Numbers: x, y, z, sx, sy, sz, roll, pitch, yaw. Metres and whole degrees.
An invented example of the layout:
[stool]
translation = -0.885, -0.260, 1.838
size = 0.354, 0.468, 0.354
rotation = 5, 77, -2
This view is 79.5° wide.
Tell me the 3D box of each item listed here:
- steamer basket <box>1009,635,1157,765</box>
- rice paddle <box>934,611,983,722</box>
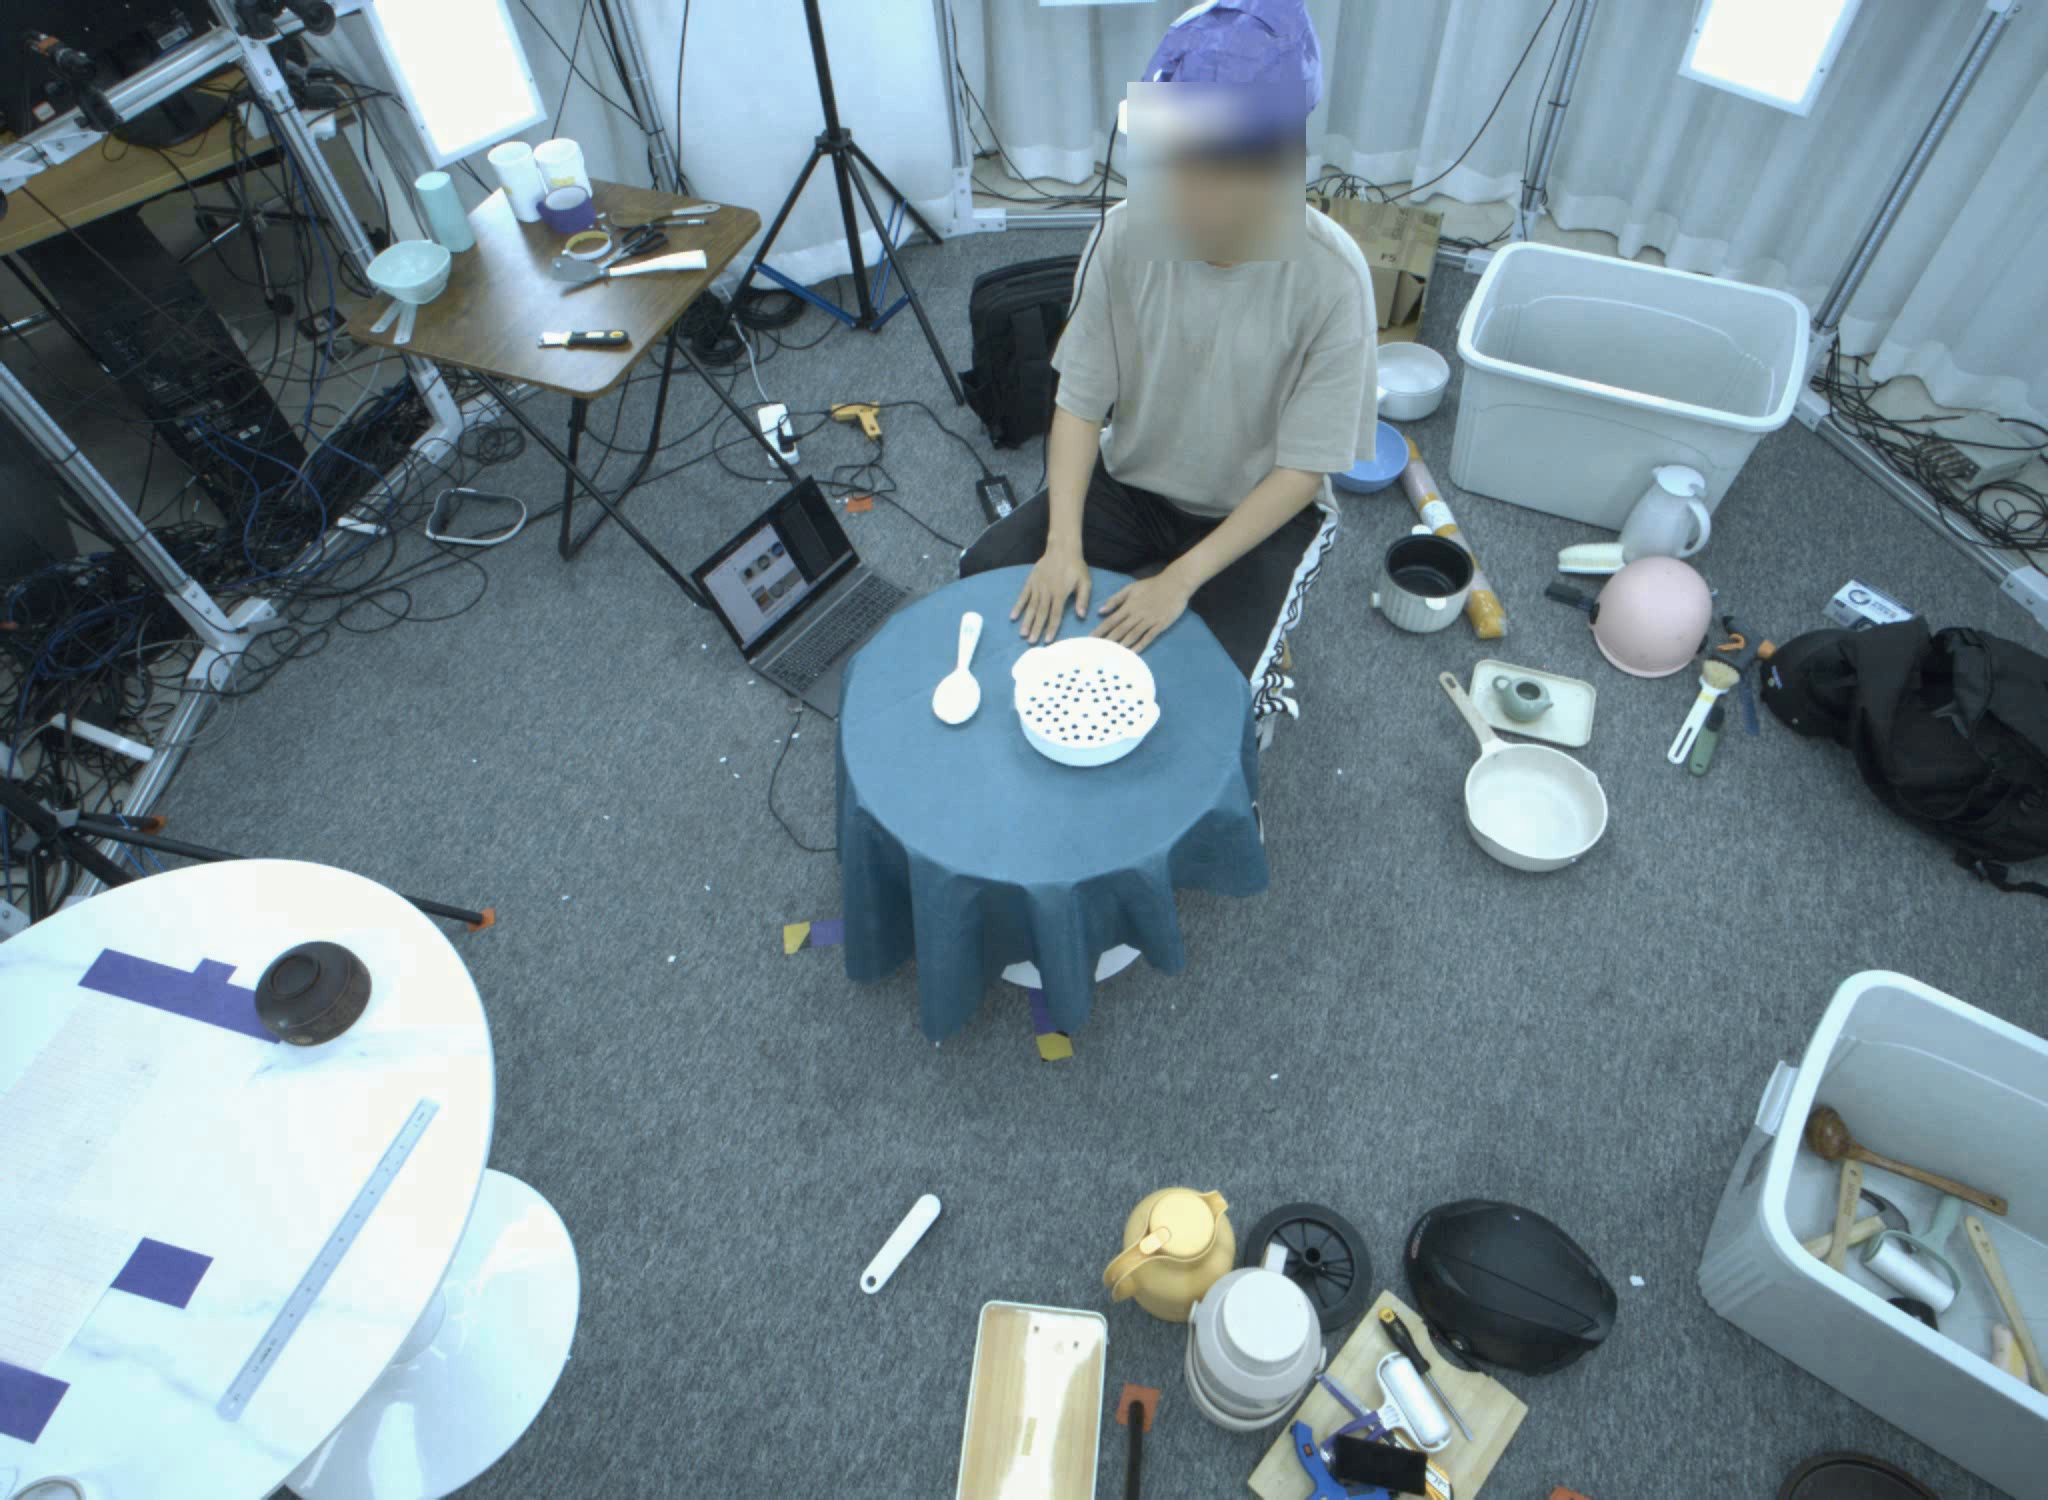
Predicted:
[steamer basket]
translation = 0.084, -0.071, 1.791
size = 0.227, 0.070, 0.203
rotation = 29, 62, 20
[rice paddle]
translation = -0.092, -0.125, 1.858
size = 0.068, 0.030, 0.204
rotation = 4, 55, 7
